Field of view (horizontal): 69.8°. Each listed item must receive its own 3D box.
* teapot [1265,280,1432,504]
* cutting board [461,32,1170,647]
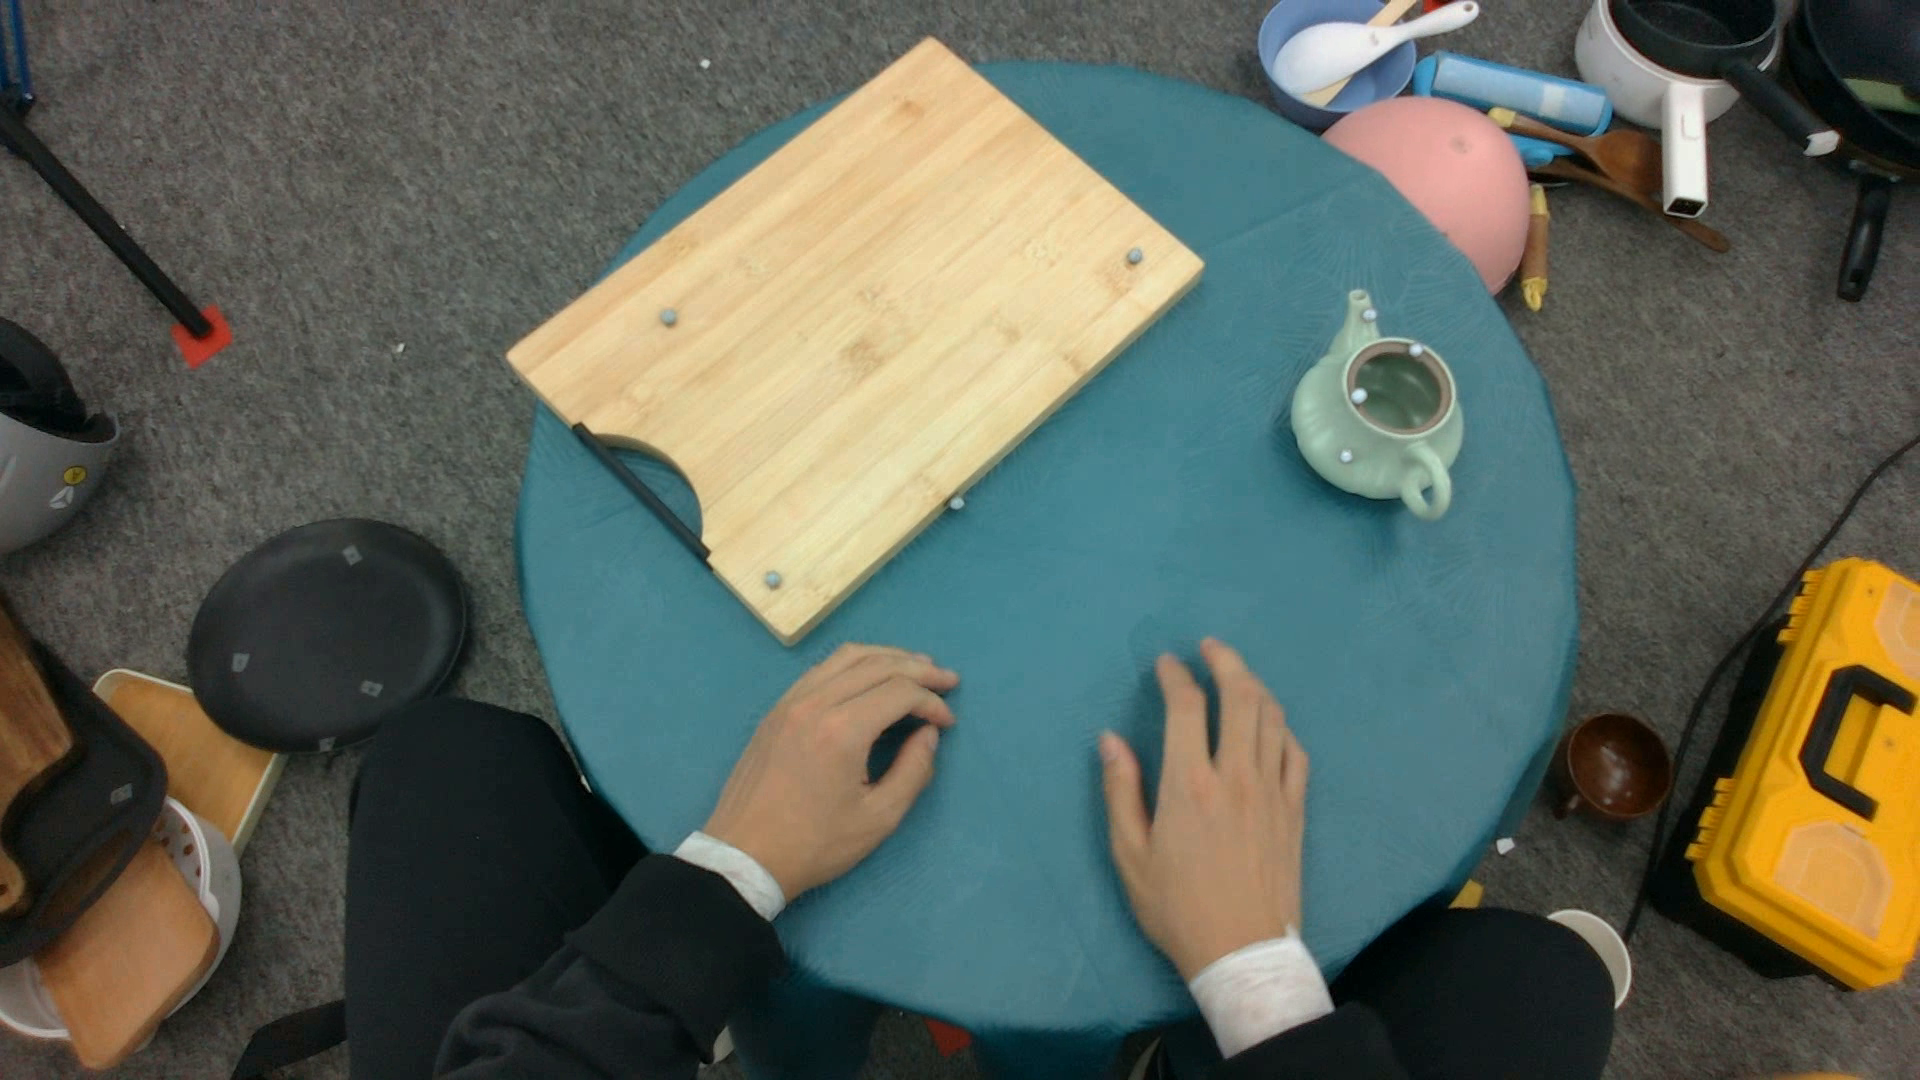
[{"bbox_3d":[0.226,-0.077,0.780,0.096,0.061,0.137,-16,68,-11],"label":"teapot"},{"bbox_3d":[-0.076,-0.134,0.812,0.251,0.023,0.350,41,71,14],"label":"cutting board"}]
